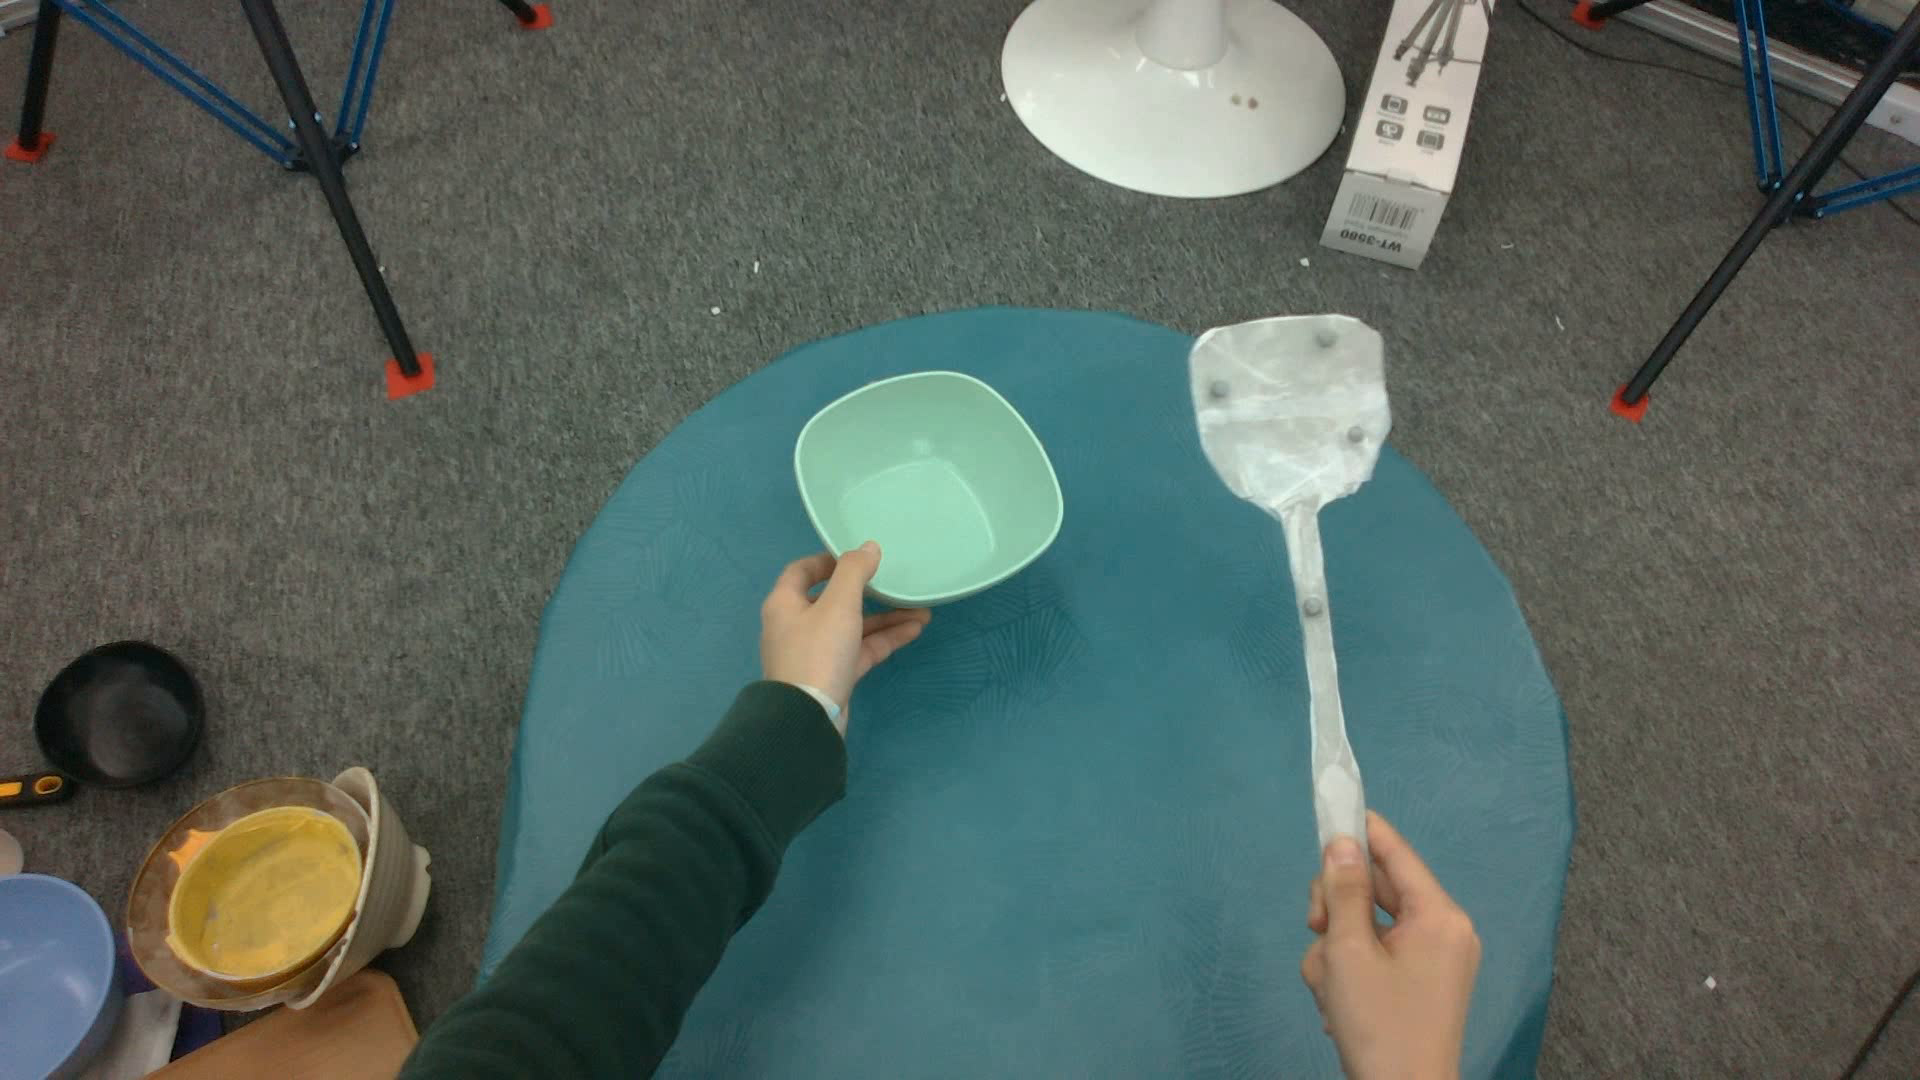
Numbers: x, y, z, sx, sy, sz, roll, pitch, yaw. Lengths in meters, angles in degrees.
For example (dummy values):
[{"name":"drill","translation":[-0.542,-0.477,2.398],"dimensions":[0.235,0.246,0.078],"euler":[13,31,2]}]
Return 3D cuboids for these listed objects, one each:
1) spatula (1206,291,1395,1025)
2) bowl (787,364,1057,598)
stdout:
[{"name":"spatula","translation":[0.169,0.041,0.664],"dimensions":[0.098,0.044,0.366],"euler":[2,63,4]},{"name":"bowl","translation":[-0.023,-0.024,0.774],"dimensions":[0.151,0.058,0.152],"euler":[4,59,-6]}]
